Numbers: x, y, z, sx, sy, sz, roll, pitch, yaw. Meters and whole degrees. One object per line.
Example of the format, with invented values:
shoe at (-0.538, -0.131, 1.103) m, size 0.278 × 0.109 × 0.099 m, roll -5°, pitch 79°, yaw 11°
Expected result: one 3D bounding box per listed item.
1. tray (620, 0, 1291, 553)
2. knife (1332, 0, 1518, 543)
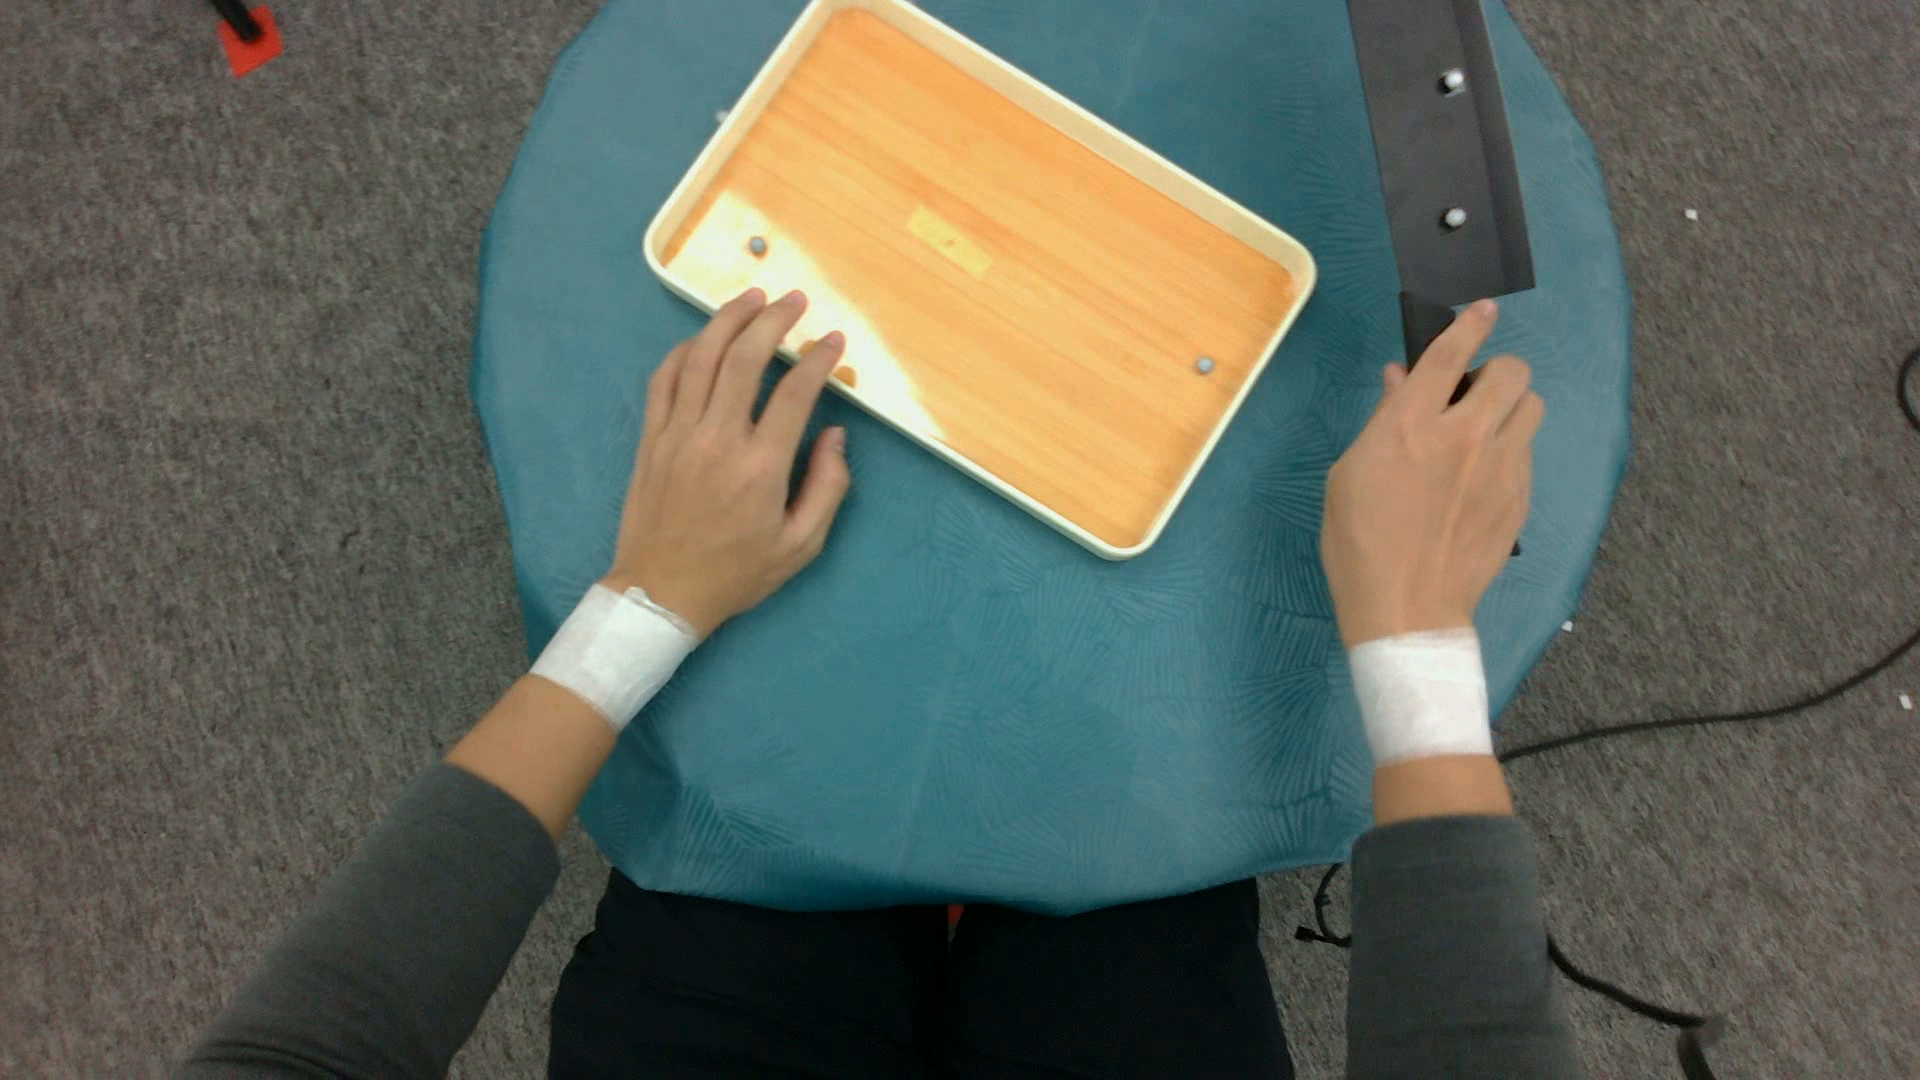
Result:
tray at (-0.001, -0.144, 0.707) m, size 0.300 × 0.027 × 0.192 m, roll 31°, pitch 80°, yaw 3°
knife at (0.228, -0.147, 0.656) m, size 0.081 × 0.021 × 0.302 m, roll -8°, pitch 90°, yaw -5°
